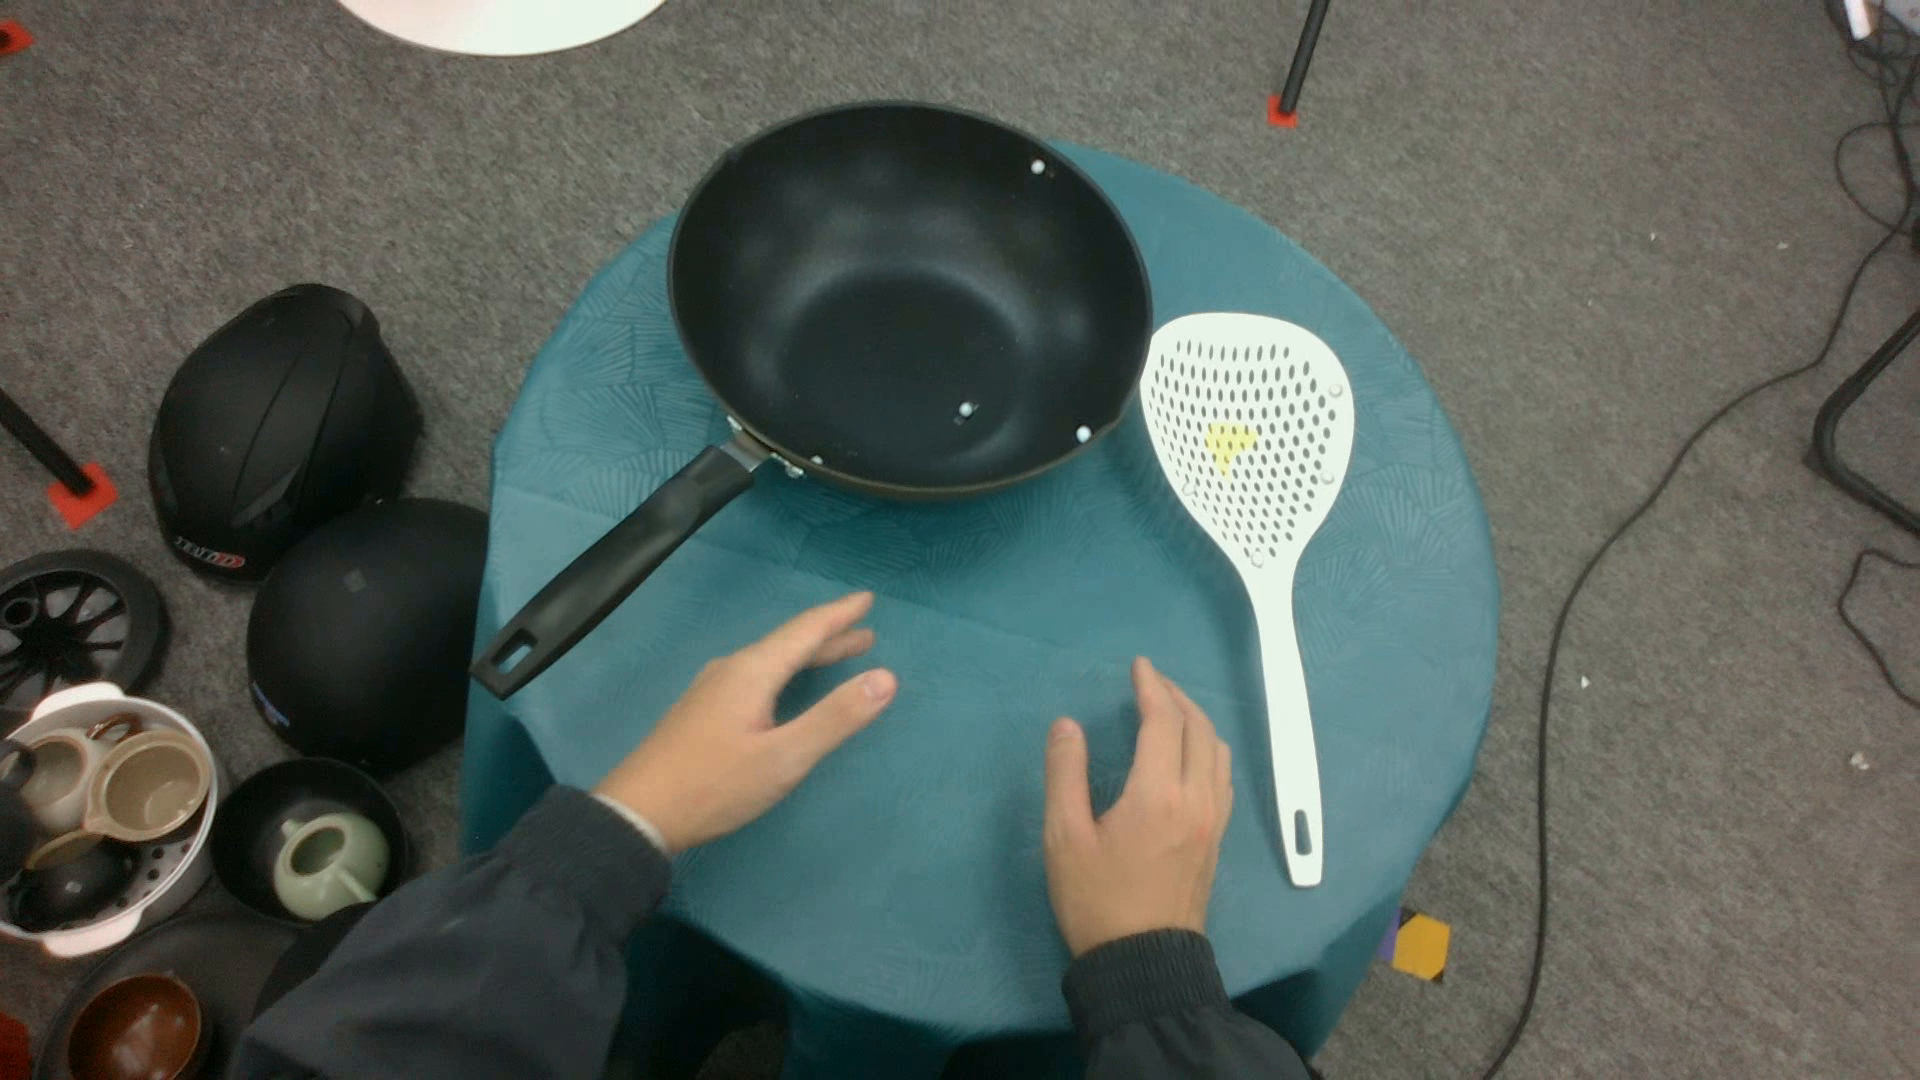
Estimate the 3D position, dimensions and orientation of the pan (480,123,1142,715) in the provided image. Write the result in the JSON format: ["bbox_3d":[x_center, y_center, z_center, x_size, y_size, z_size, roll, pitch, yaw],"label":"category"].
[{"bbox_3d":[-0.088,-0.061,0.797,0.288,0.086,0.465,33,63,13],"label":"pan"}]

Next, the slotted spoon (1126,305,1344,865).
[{"bbox_3d":[0.177,0.013,0.808,0.137,0.050,0.349,-1,60,-9],"label":"slotted spoon"}]
